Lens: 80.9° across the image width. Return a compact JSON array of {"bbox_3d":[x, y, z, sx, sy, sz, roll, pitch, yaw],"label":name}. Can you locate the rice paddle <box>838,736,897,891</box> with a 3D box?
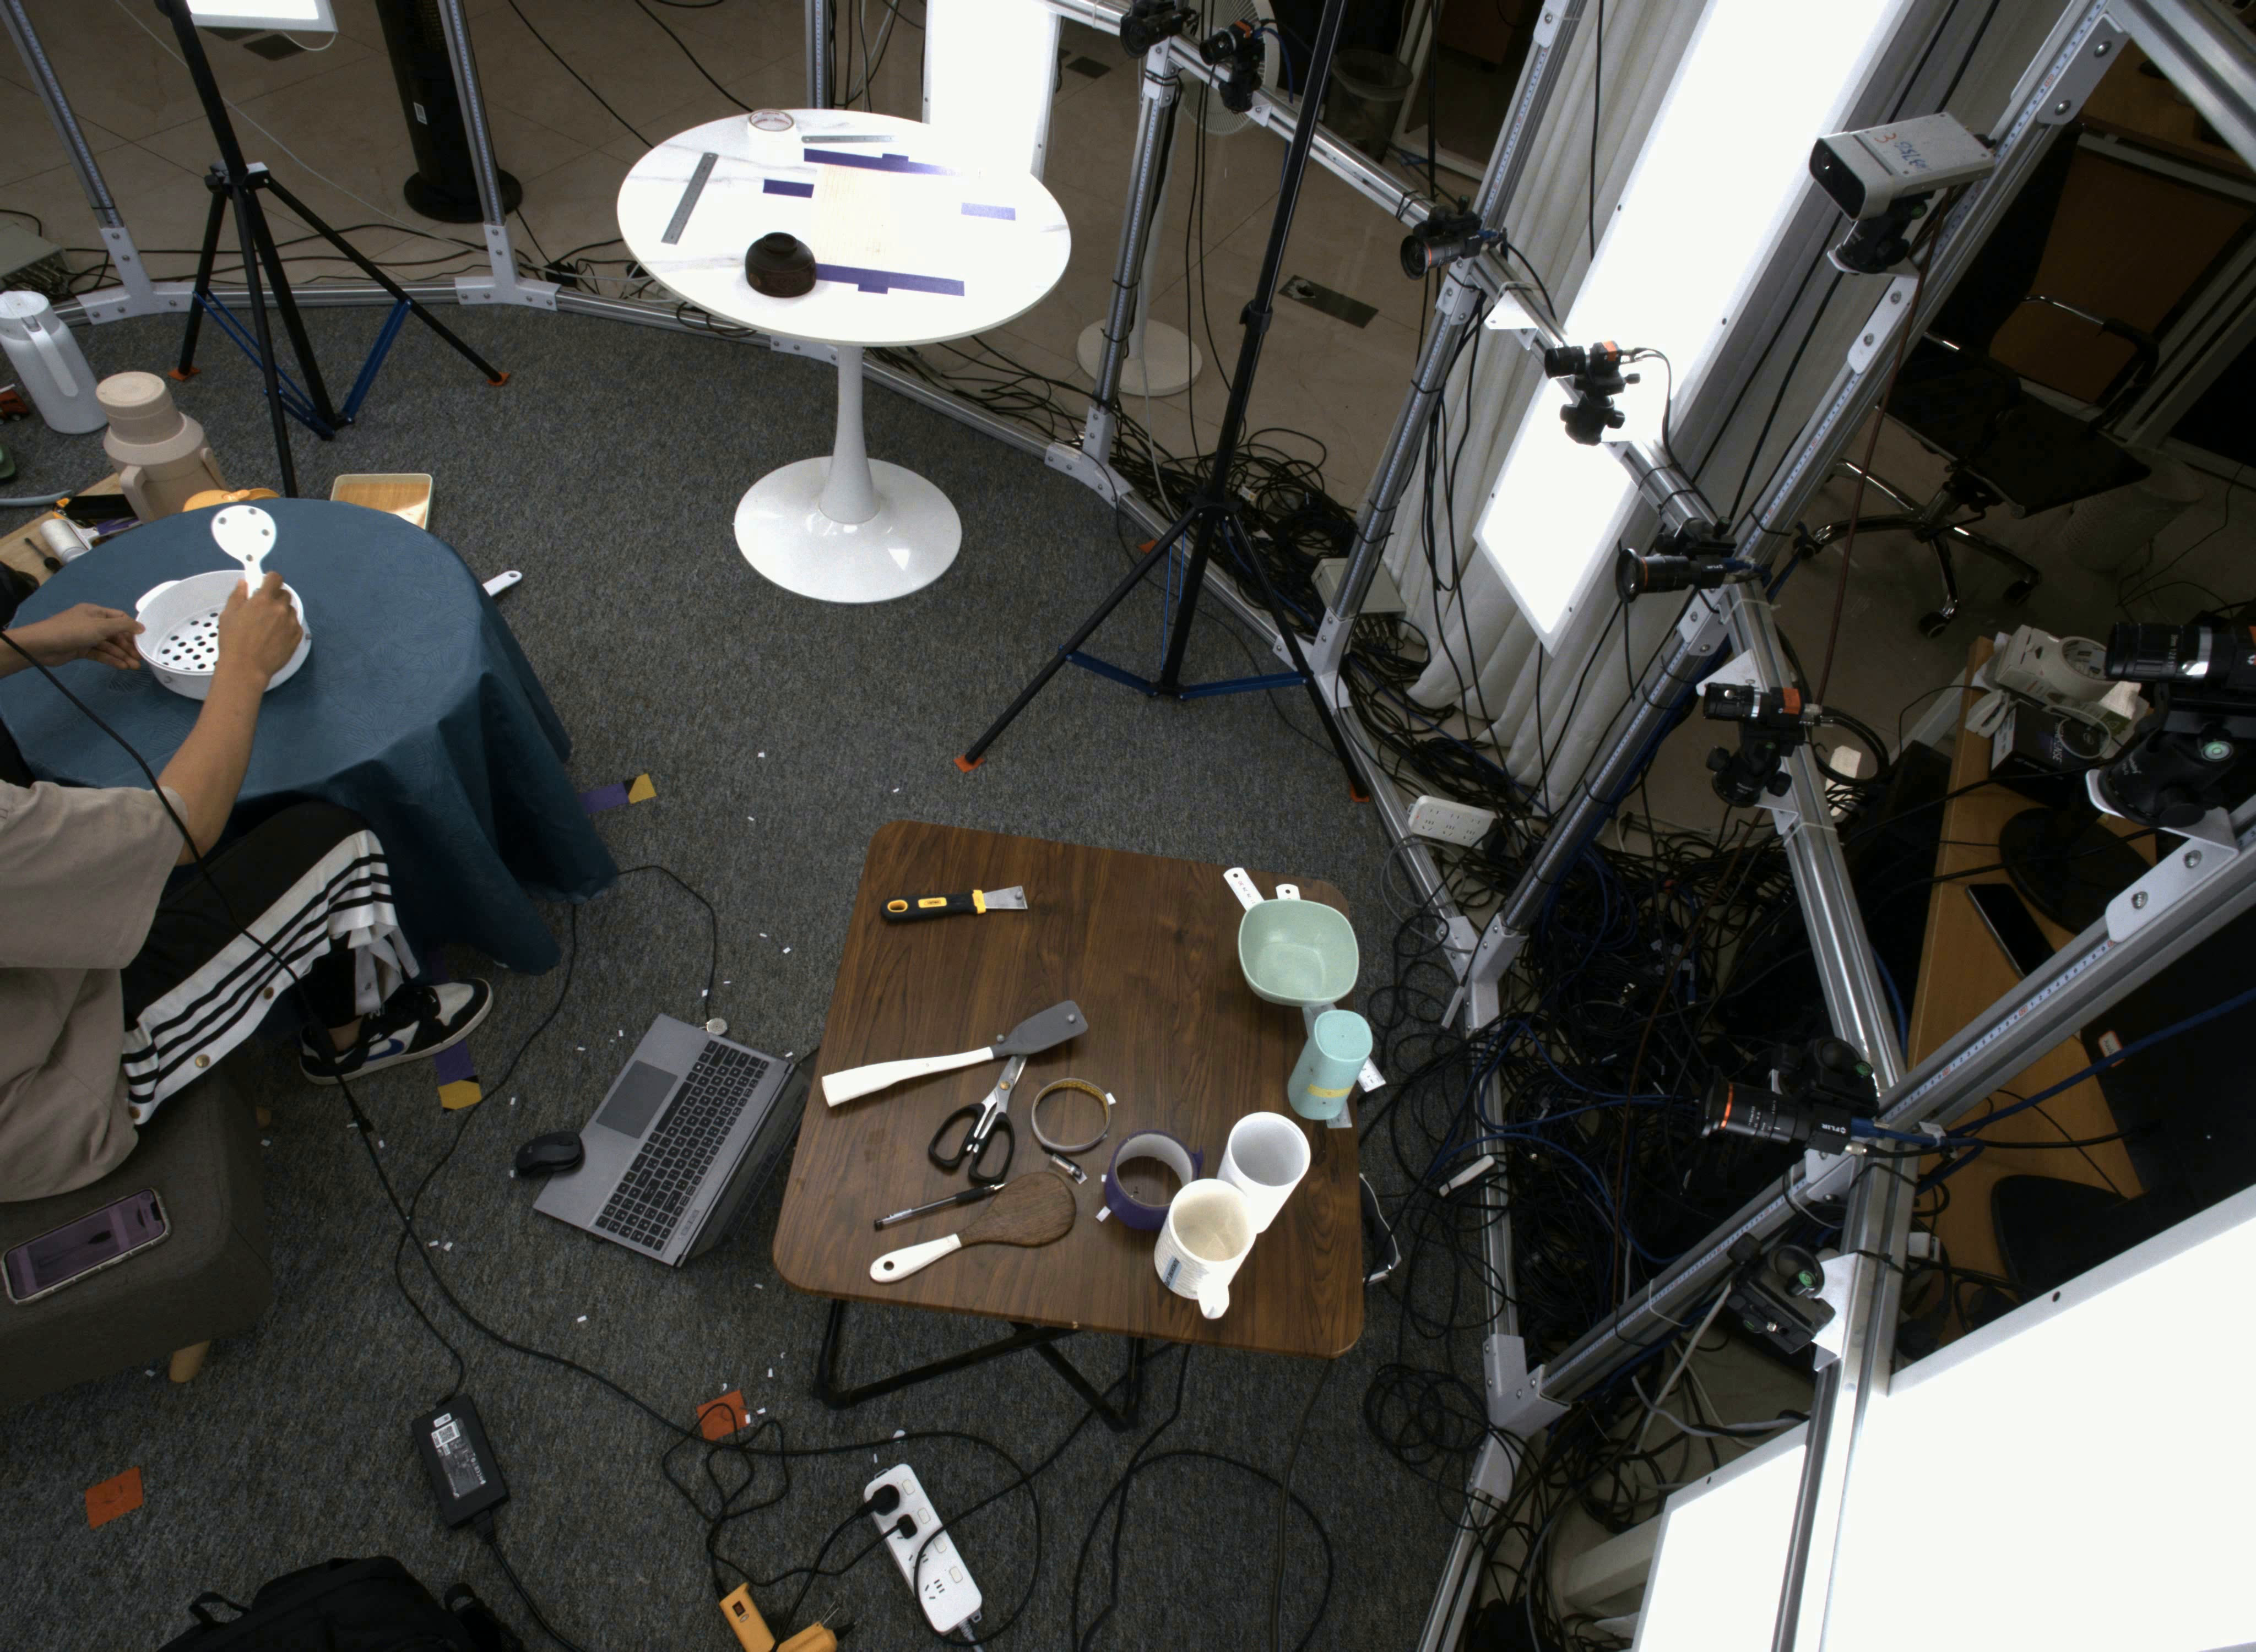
[{"bbox_3d":[-0.301,-0.022,1.530,0.069,0.029,0.202,-1,62,-24],"label":"rice paddle"}]

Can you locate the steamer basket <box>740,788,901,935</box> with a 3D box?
[{"bbox_3d":[-0.393,0.045,1.666,0.225,0.071,0.202,33,53,15],"label":"steamer basket"}]
